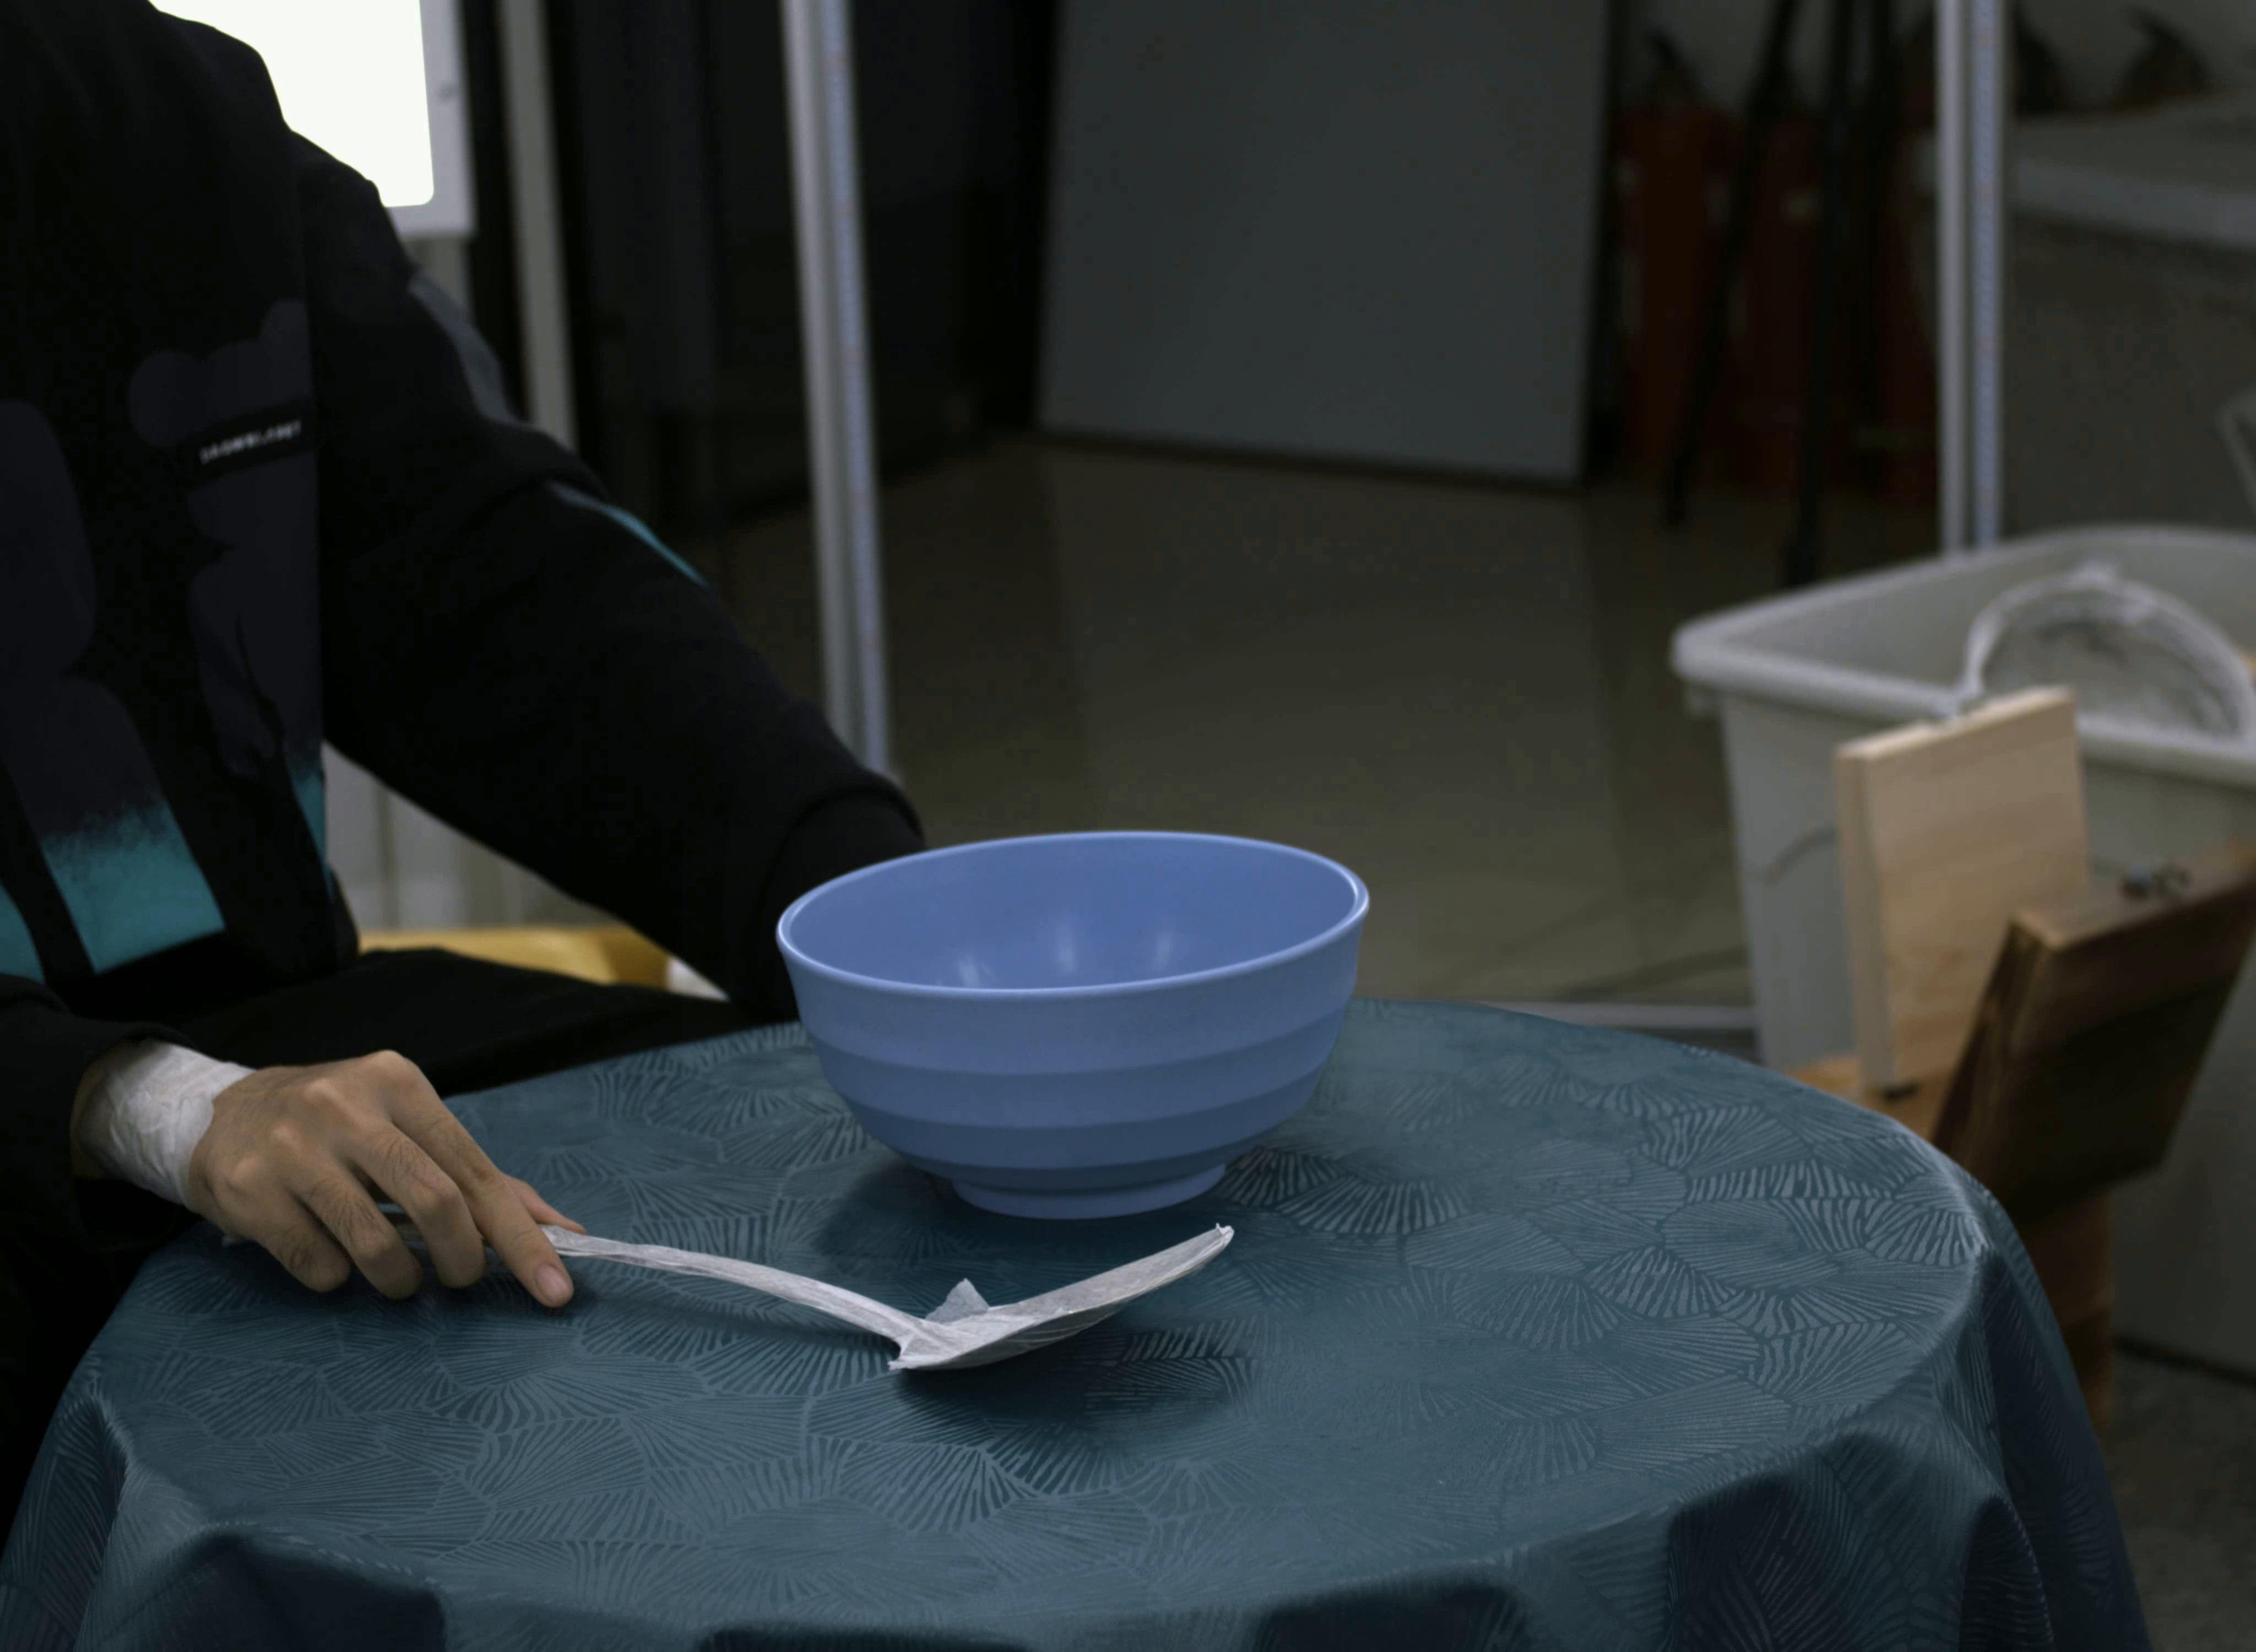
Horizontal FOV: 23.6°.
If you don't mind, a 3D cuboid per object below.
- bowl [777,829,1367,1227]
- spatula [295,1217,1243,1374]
[{"bbox_3d":[-0.015,0.072,1.778,0.194,0.096,0.197,-5,15,0],"label":"bowl"},{"bbox_3d":[-0.130,0.134,1.680,0.367,0.045,0.097,5,17,34],"label":"spatula"}]
